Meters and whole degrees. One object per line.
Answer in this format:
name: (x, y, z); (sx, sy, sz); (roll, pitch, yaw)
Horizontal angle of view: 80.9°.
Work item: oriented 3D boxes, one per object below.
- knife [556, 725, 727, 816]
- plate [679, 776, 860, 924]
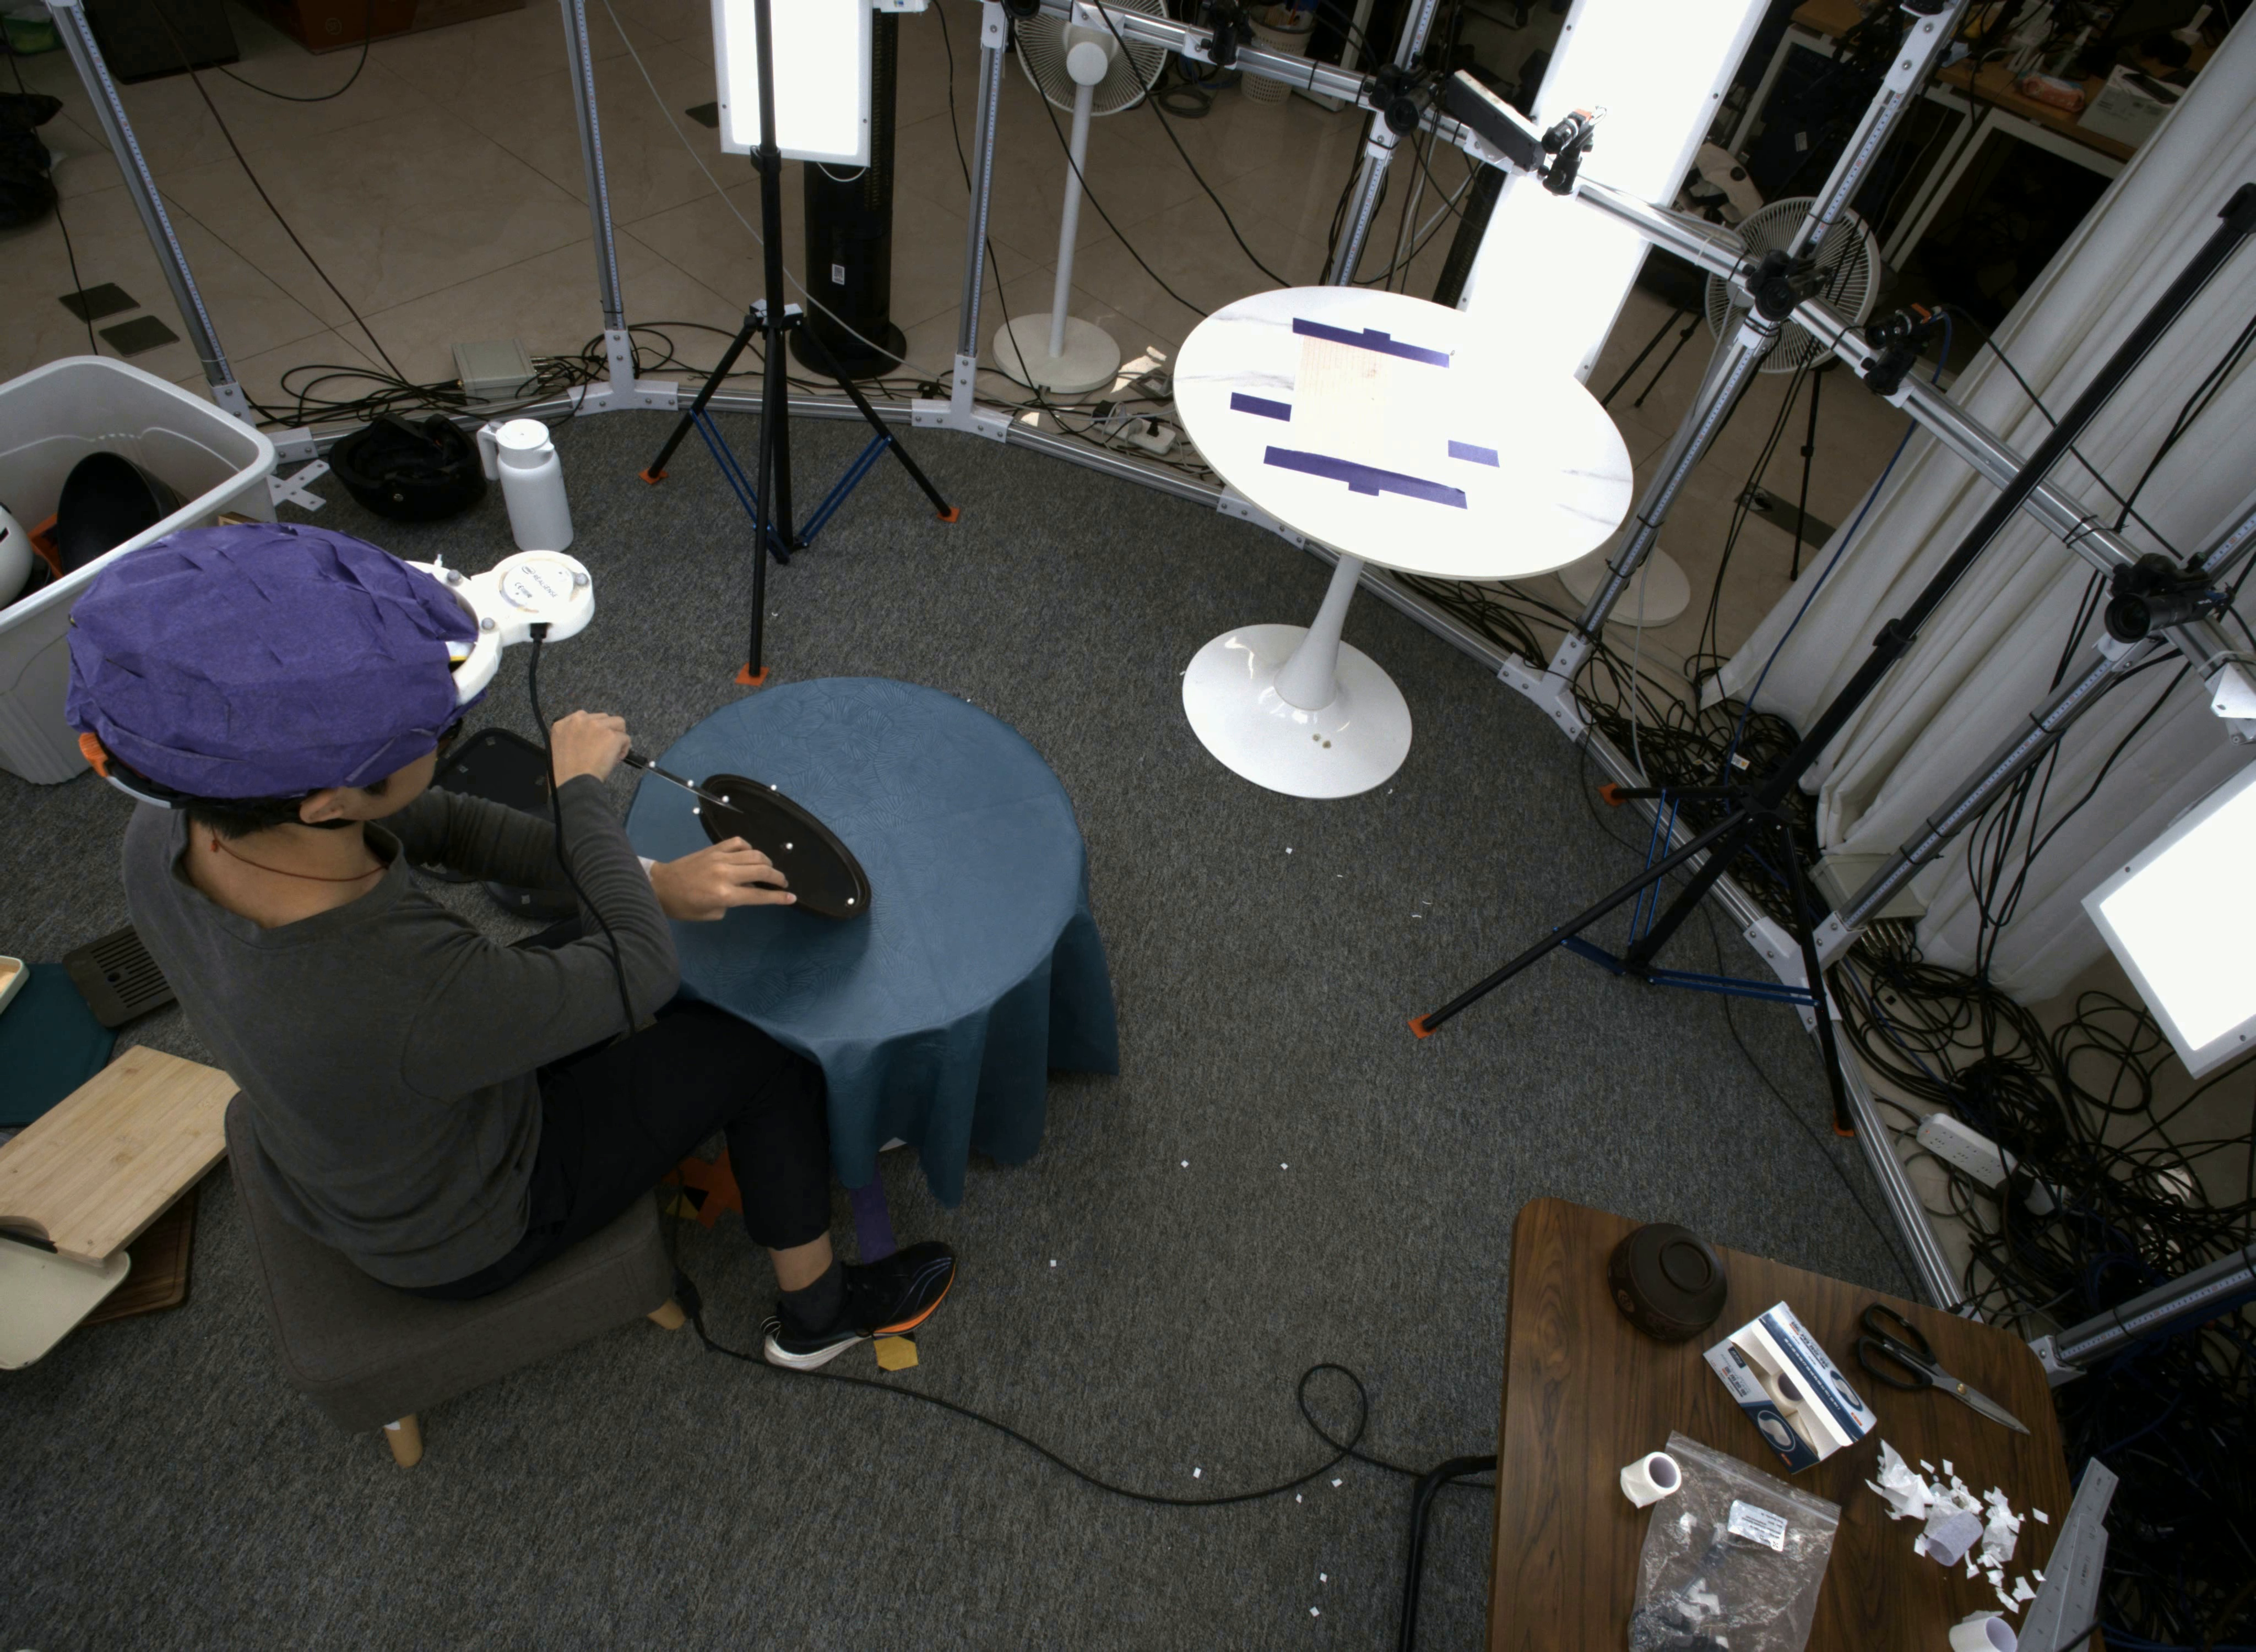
knife: (-0.580, -0.065, 1.501); (0.241, 0.016, 0.024); (27, 10, -16)
plate: (-0.442, 0.030, 1.596); (0.257, 0.029, 0.252); (39, 12, -8)
